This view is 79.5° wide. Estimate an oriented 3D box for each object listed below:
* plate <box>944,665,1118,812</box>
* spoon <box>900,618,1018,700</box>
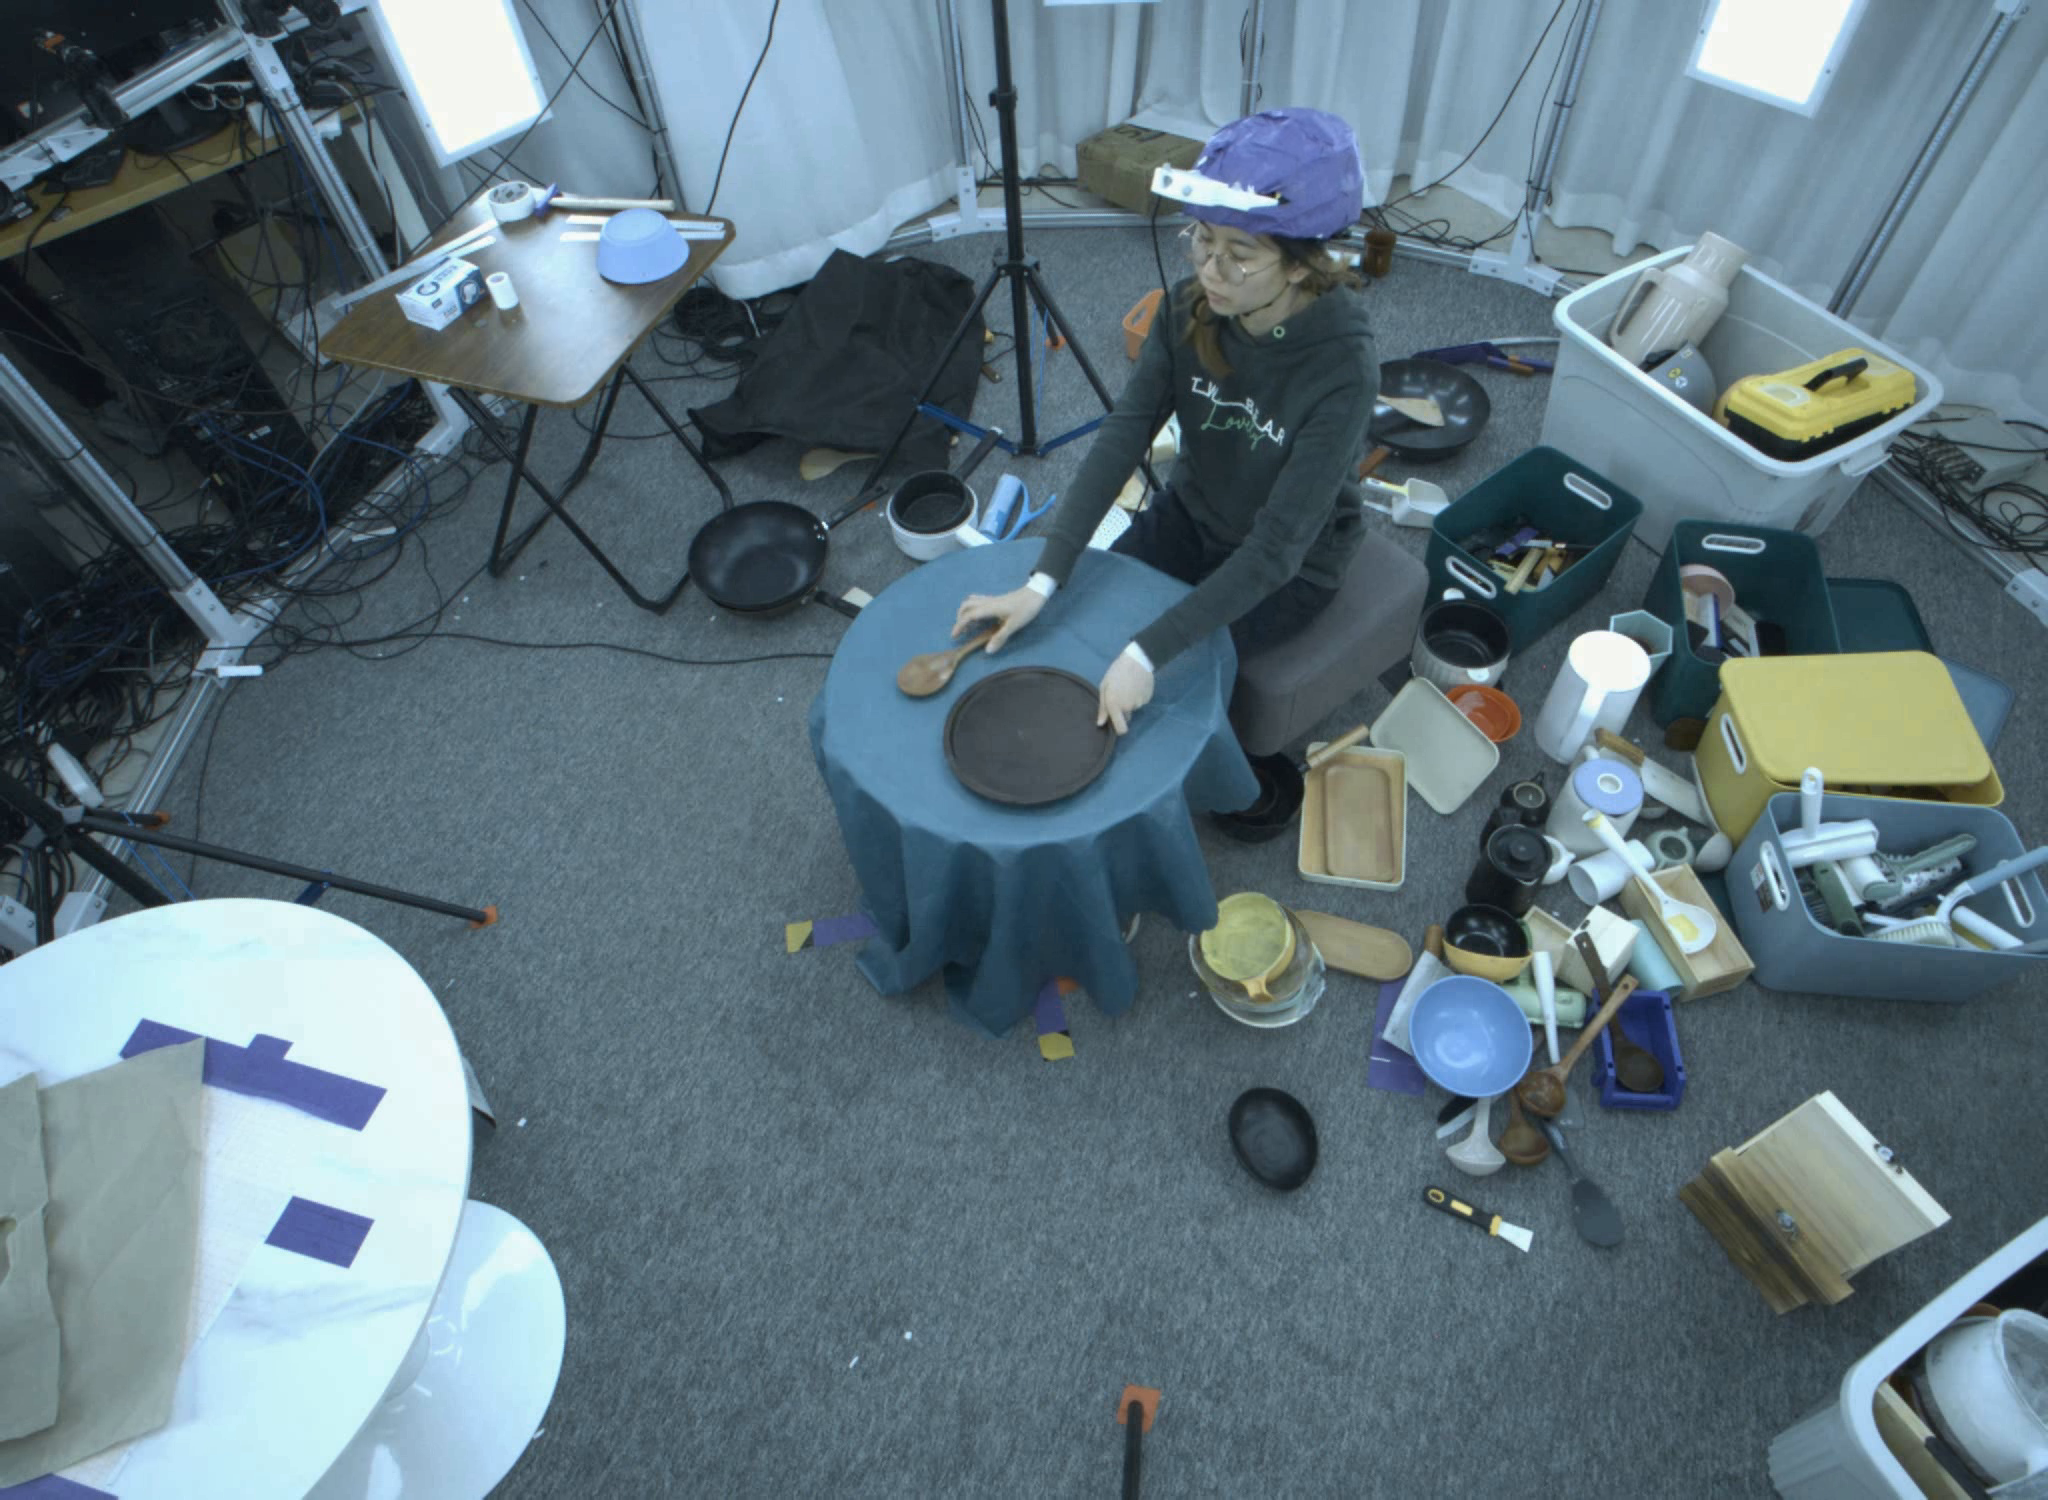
[{"bbox_3d":[0.011,-0.016,1.793,0.254,0.029,0.252,-1,56,3],"label":"plate"},{"bbox_3d":[-0.097,-0.141,1.890,0.217,0.017,0.074,-35,61,-21],"label":"spoon"}]
